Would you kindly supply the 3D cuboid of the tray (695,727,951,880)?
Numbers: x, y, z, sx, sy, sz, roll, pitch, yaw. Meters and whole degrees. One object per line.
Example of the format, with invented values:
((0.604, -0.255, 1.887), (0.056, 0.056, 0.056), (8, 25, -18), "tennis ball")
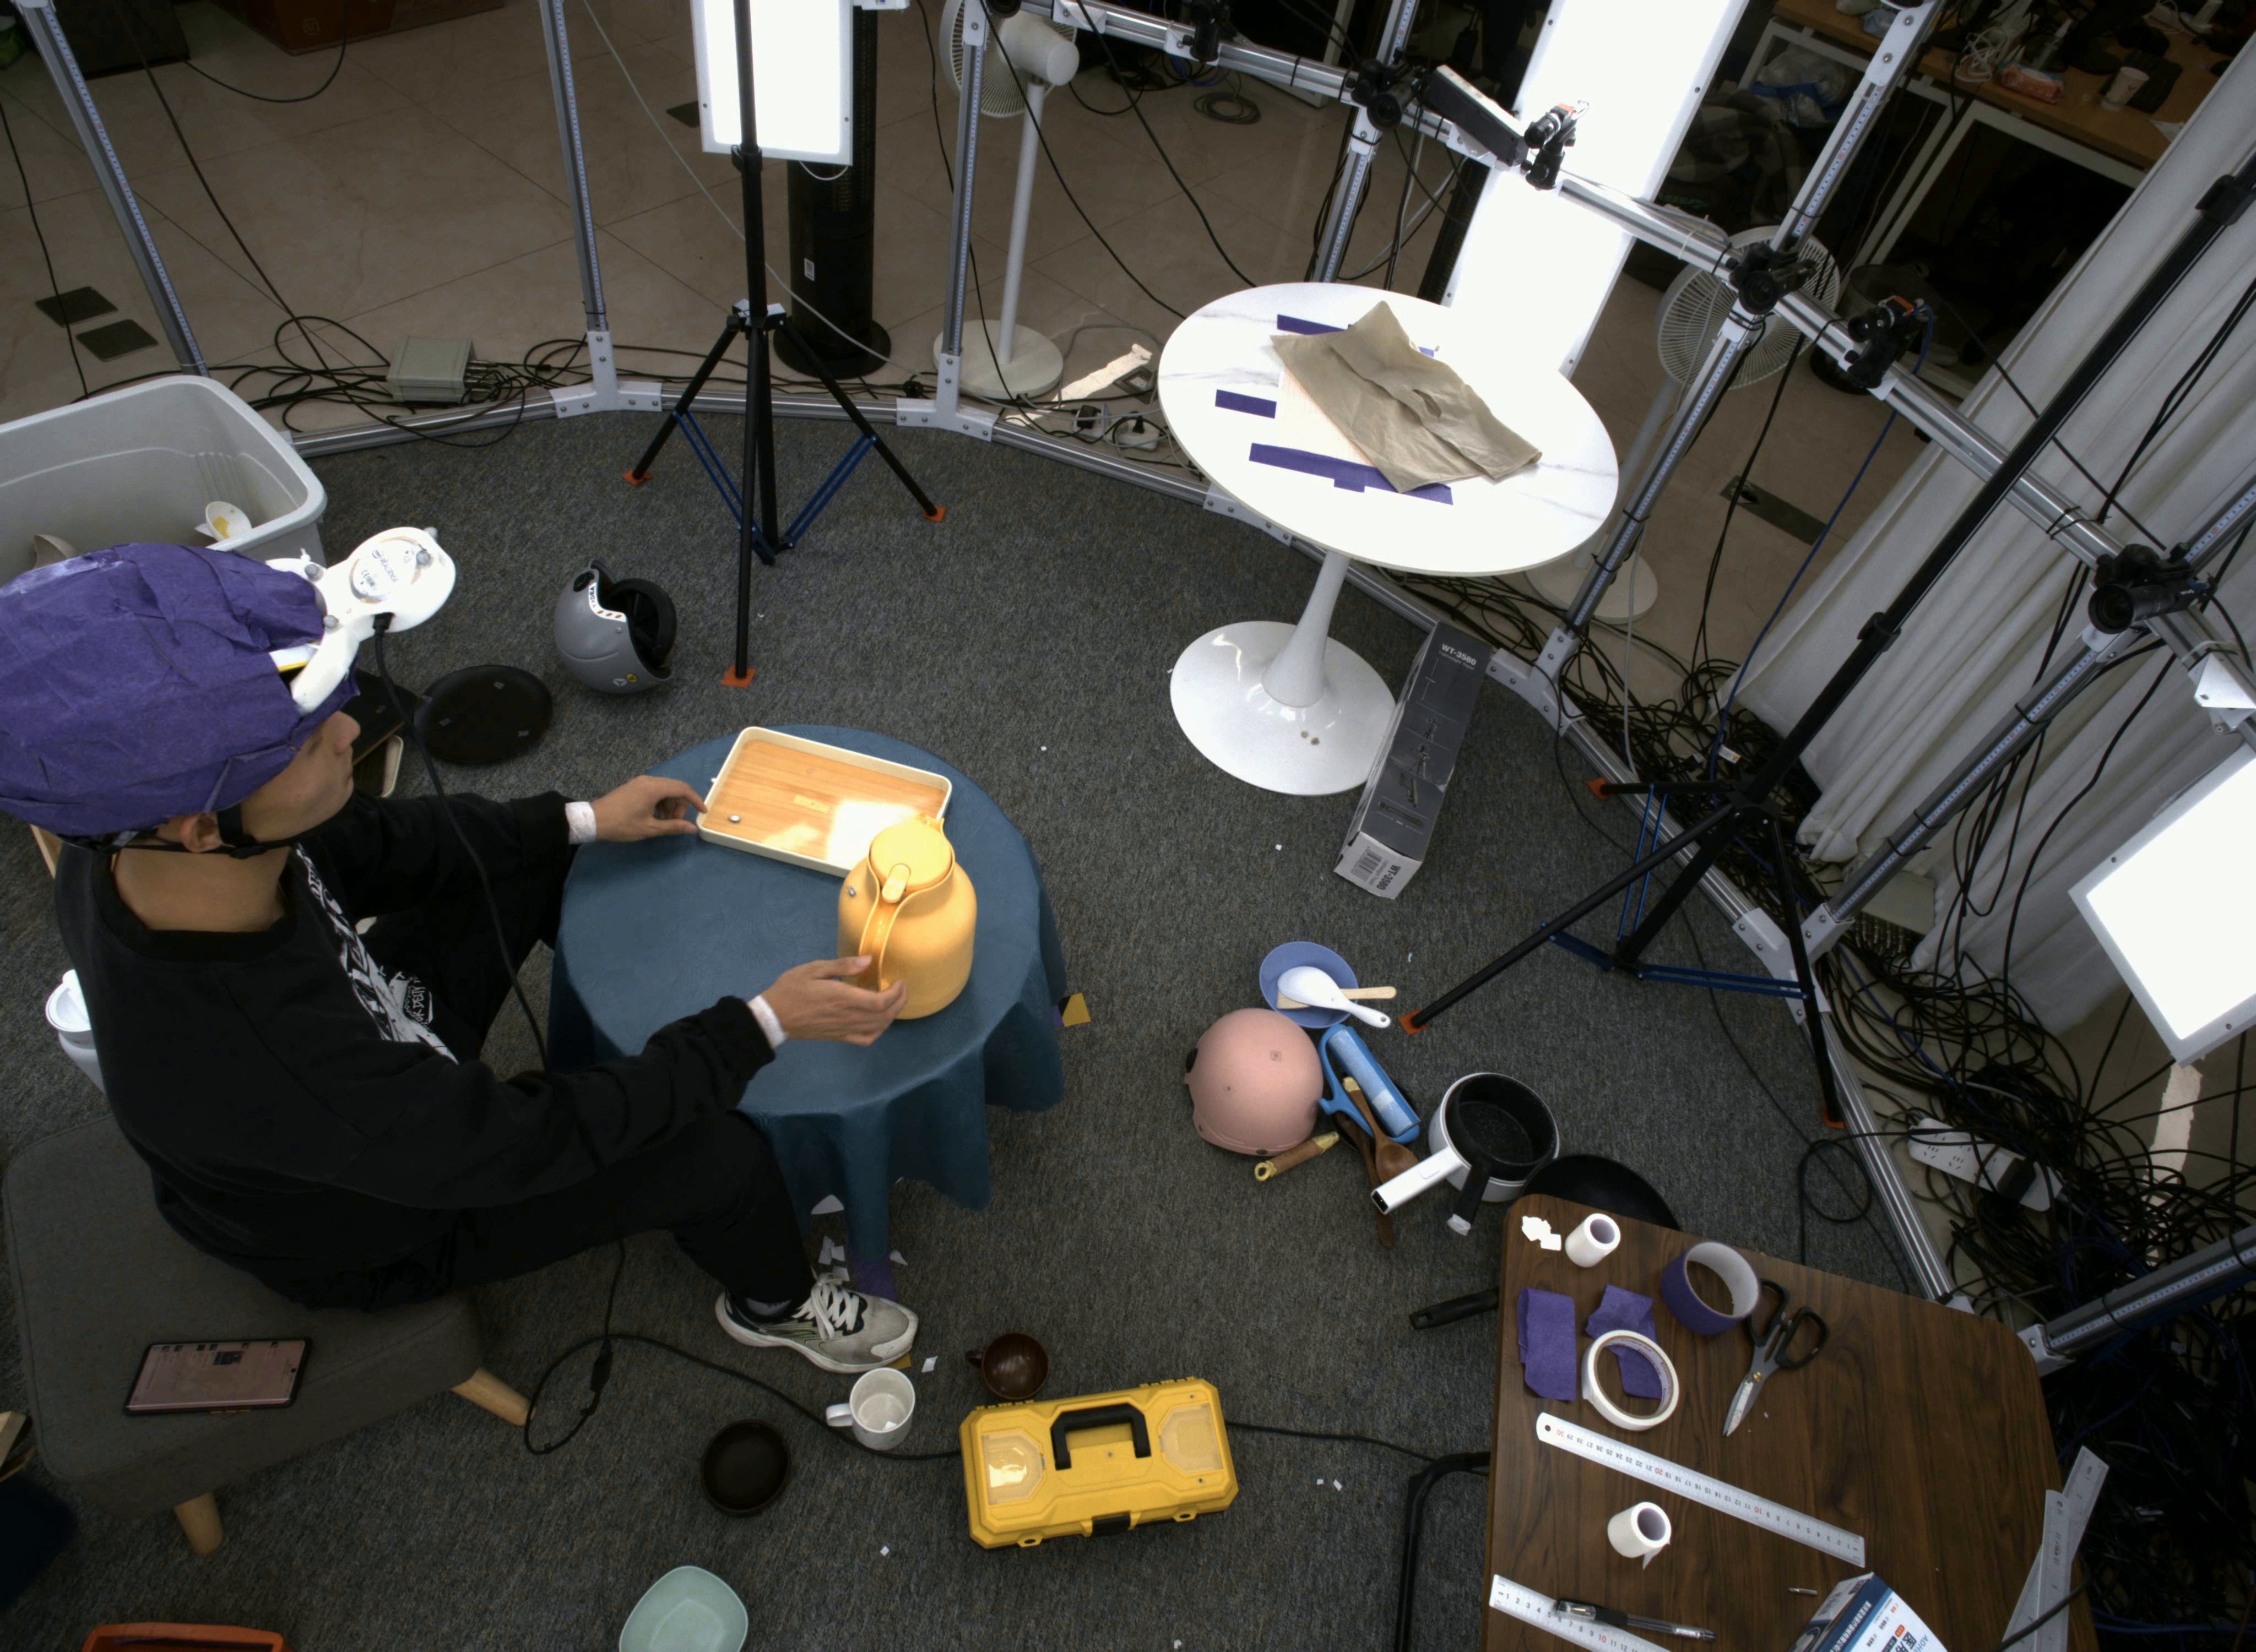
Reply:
((-0.402, -0.024, 1.728), (0.298, 0.028, 0.189), (15, 51, -3), "tray")

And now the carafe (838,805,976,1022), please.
((-0.265, 0.114, 1.508), (0.161, 0.267, 0.200), (18, 49, 5), "carafe")
